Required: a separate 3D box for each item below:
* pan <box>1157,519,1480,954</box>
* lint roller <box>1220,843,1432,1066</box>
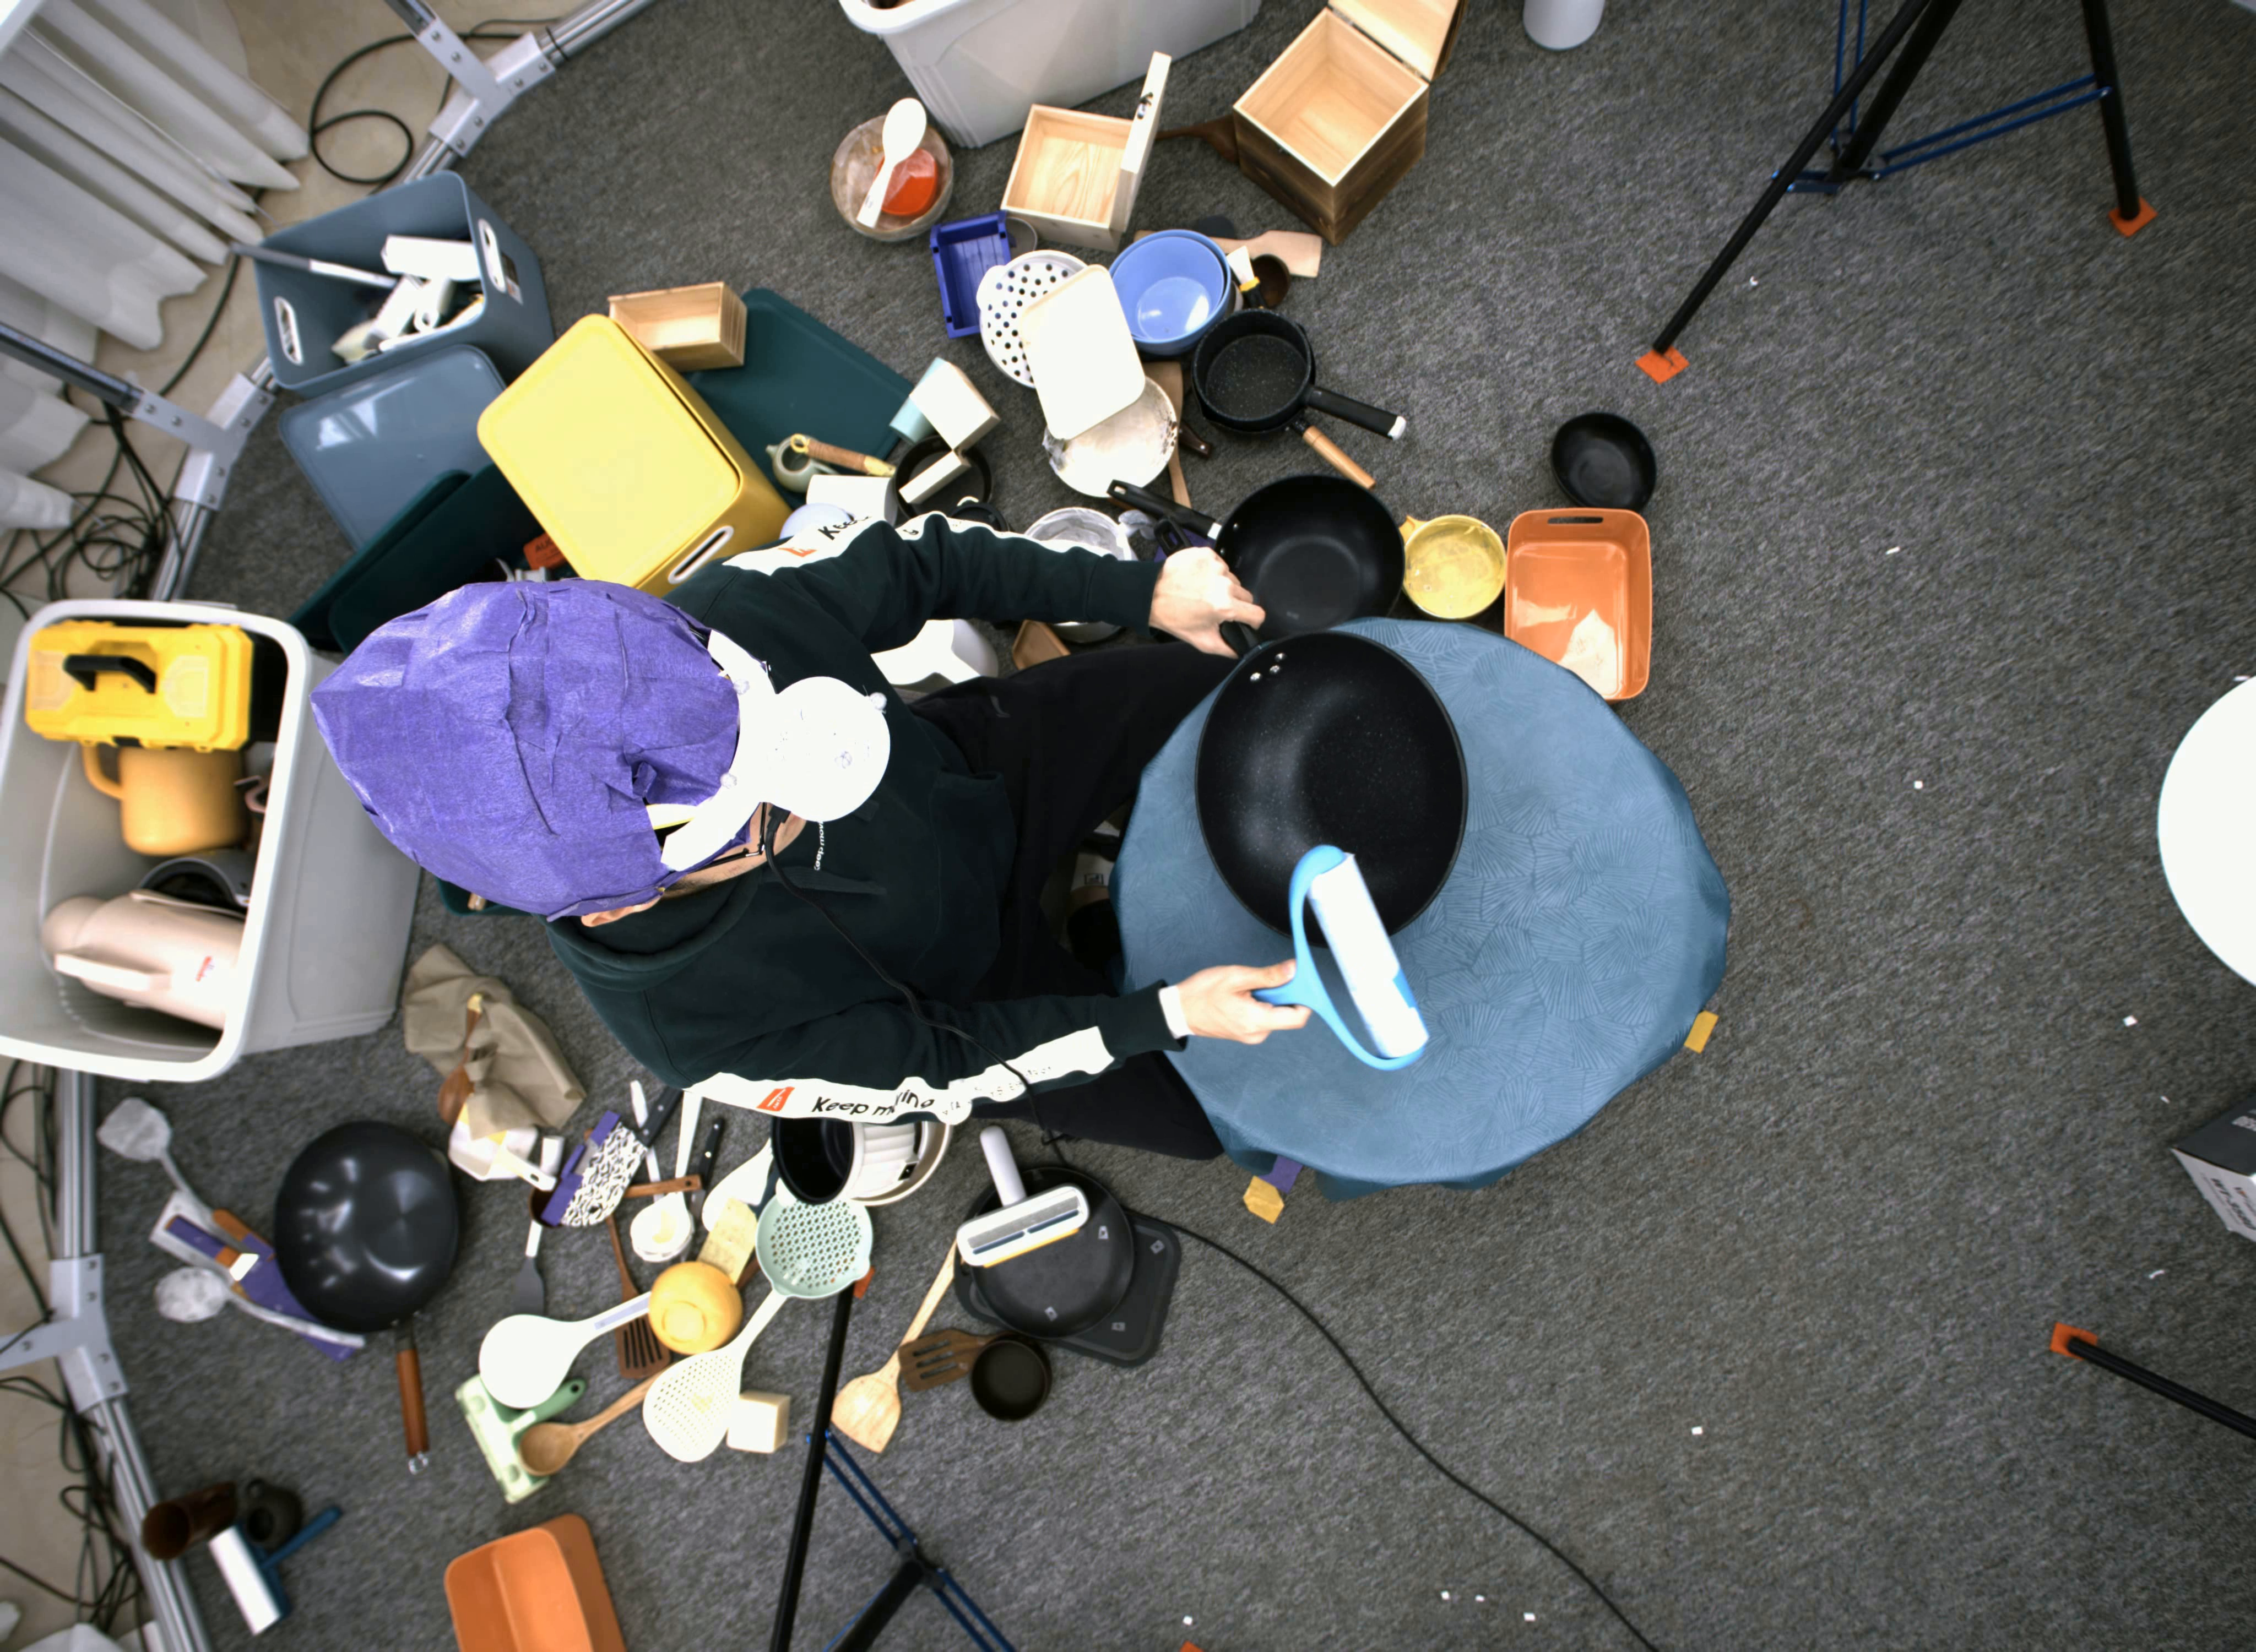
[{"bbox_3d":[0.173,-0.105,1.363,0.317,0.110,0.472,-37,74,38],"label":"pan"},{"bbox_3d":[0.169,0.143,1.306,0.182,0.066,0.231,-26,105,16],"label":"lint roller"}]
